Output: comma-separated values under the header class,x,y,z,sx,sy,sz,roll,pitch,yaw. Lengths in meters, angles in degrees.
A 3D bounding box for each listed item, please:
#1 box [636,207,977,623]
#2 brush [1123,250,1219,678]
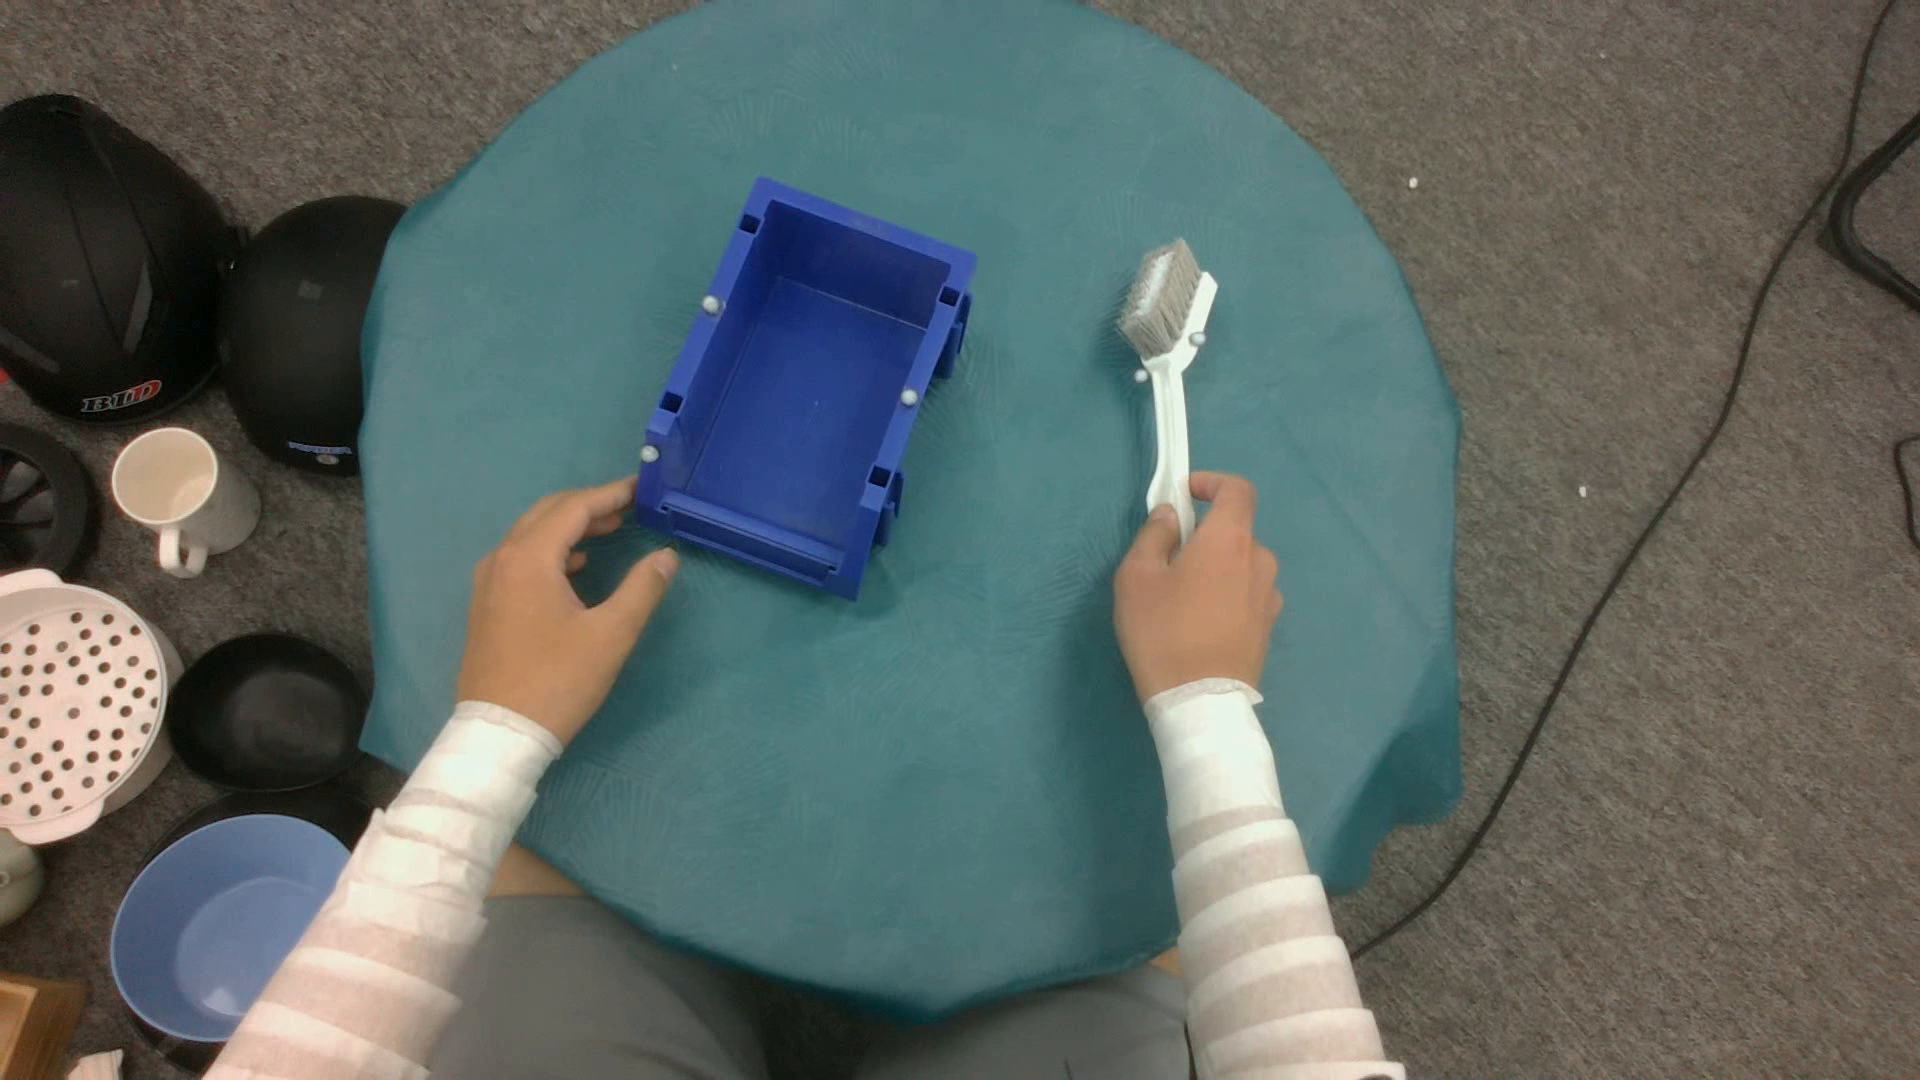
class,x,y,z,sx,sy,sz,roll,pitch,yaw
box,-0.078,-0.062,0.725,0.124,0.081,0.180,21,70,1
brush,0.107,-0.047,0.749,0.050,0.034,0.244,26,64,-39
